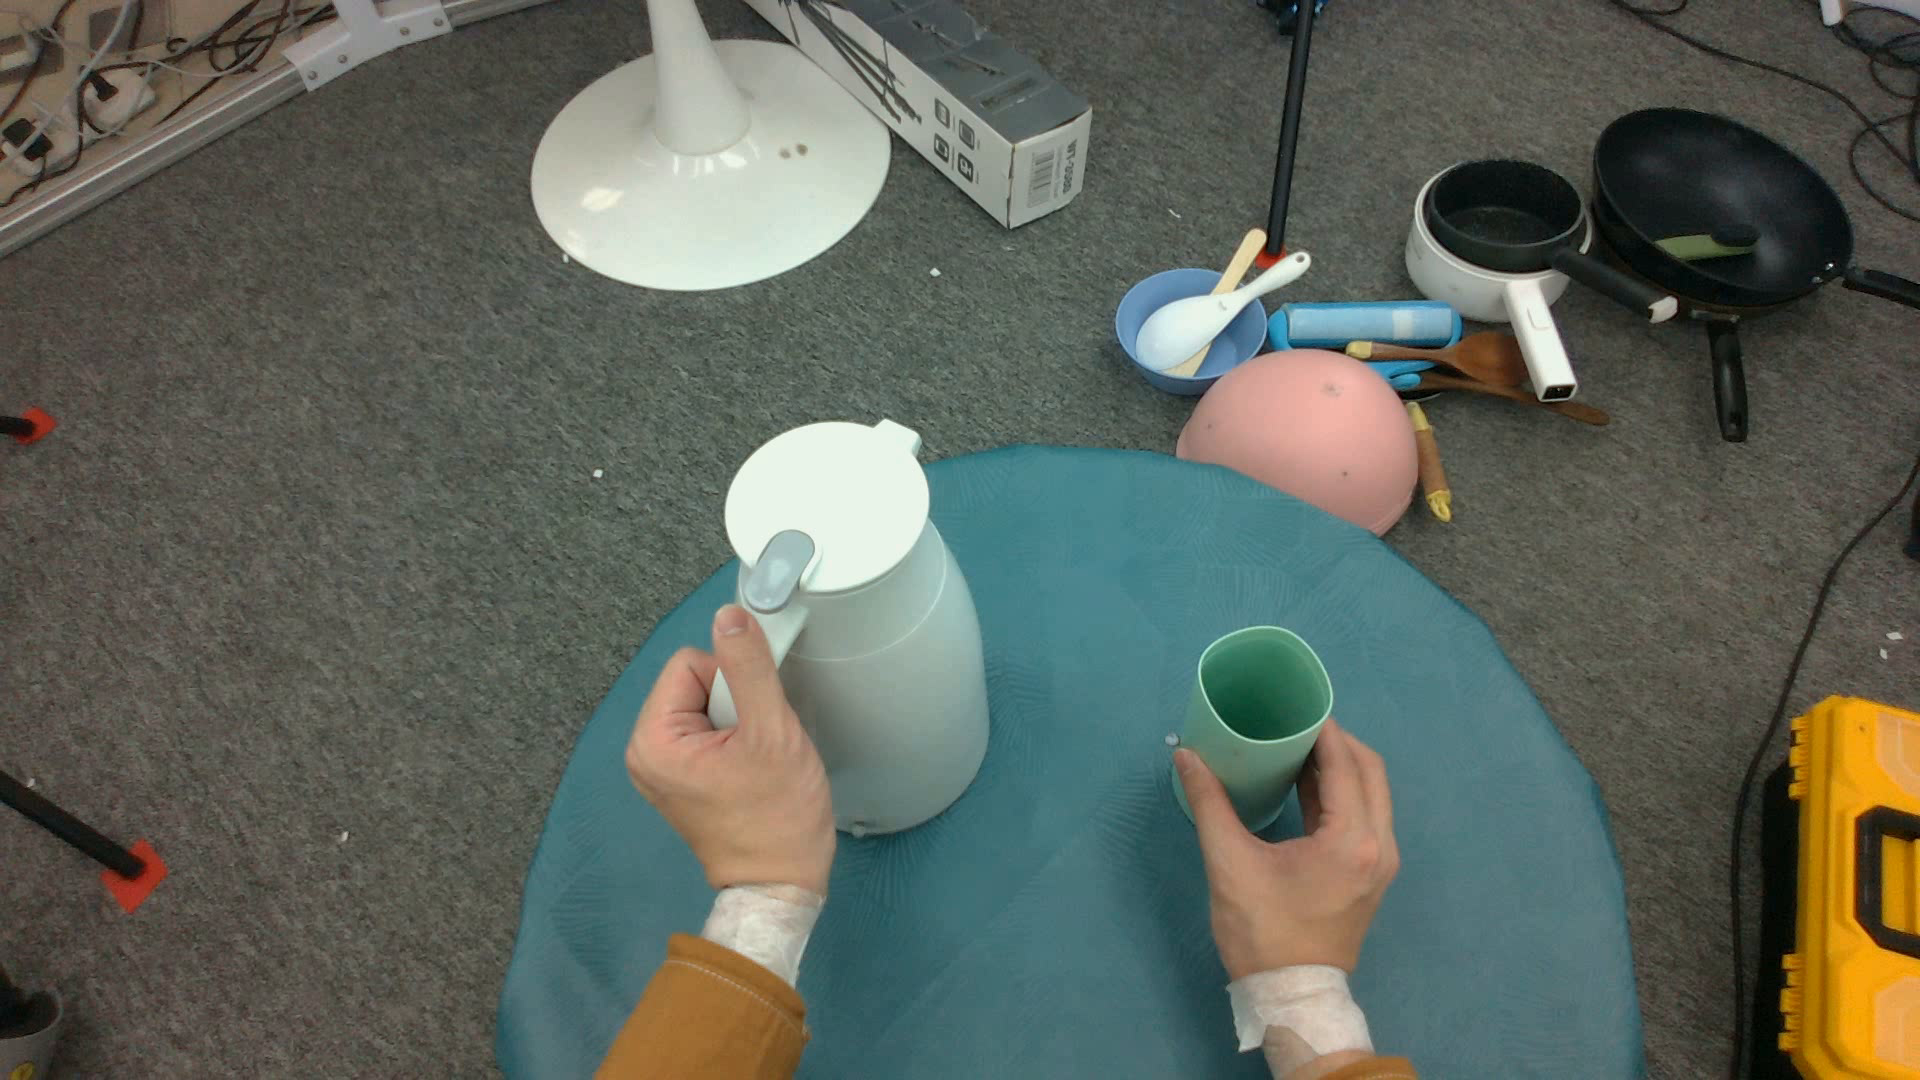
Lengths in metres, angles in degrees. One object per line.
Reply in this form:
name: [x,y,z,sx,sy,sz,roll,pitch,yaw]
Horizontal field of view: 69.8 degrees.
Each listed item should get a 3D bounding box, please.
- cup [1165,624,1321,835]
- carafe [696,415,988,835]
cup: [0.147,0.105,0.732,0.067,0.132,0.067,-1,57,1]
carafe: [-0.066,0.059,0.700,0.132,0.247,0.168,24,62,18]
